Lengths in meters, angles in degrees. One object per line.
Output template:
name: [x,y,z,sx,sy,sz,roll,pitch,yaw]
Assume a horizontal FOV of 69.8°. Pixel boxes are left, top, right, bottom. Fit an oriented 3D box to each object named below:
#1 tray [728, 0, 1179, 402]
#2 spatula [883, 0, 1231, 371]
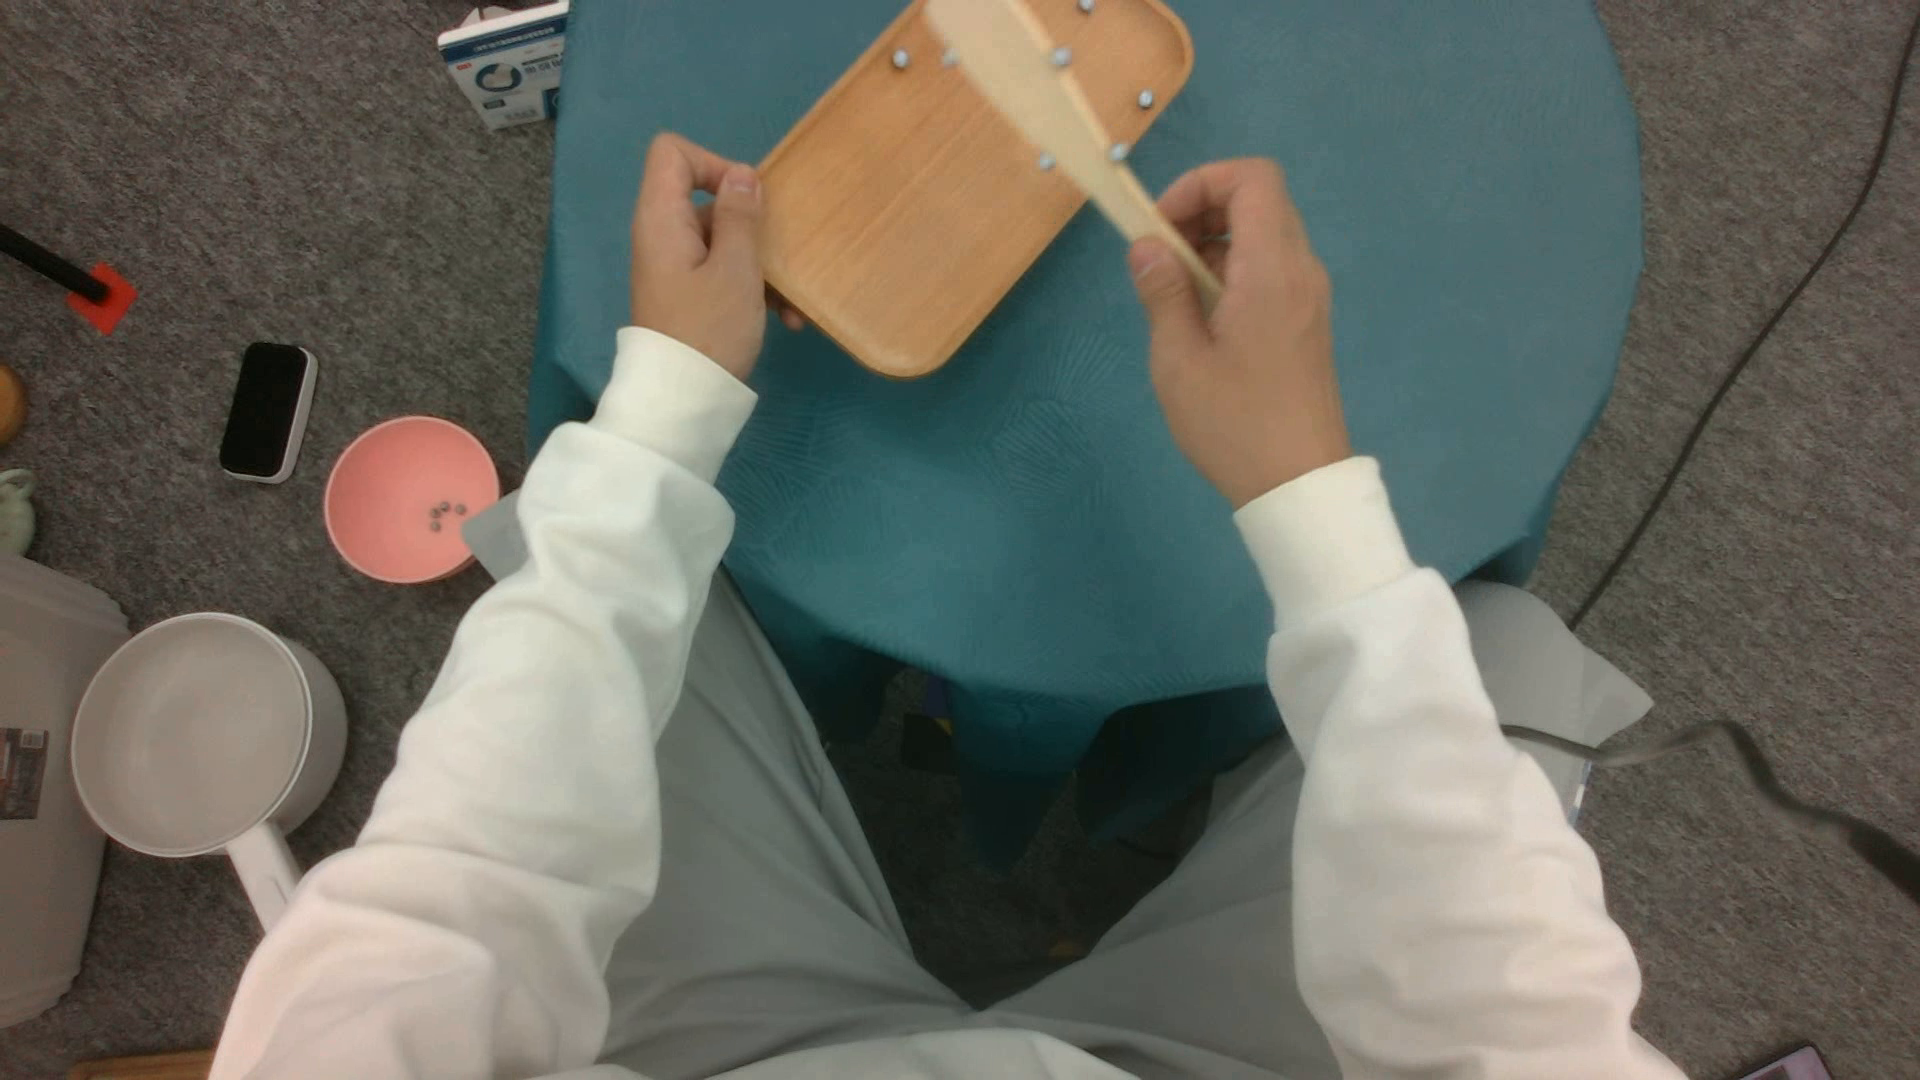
tray: [0.001,-0.188,0.694,0.130,0.023,0.251,37,75,4]
spatula: [0.043,-0.150,0.601,0.208,0.050,0.005,46,65,2]
